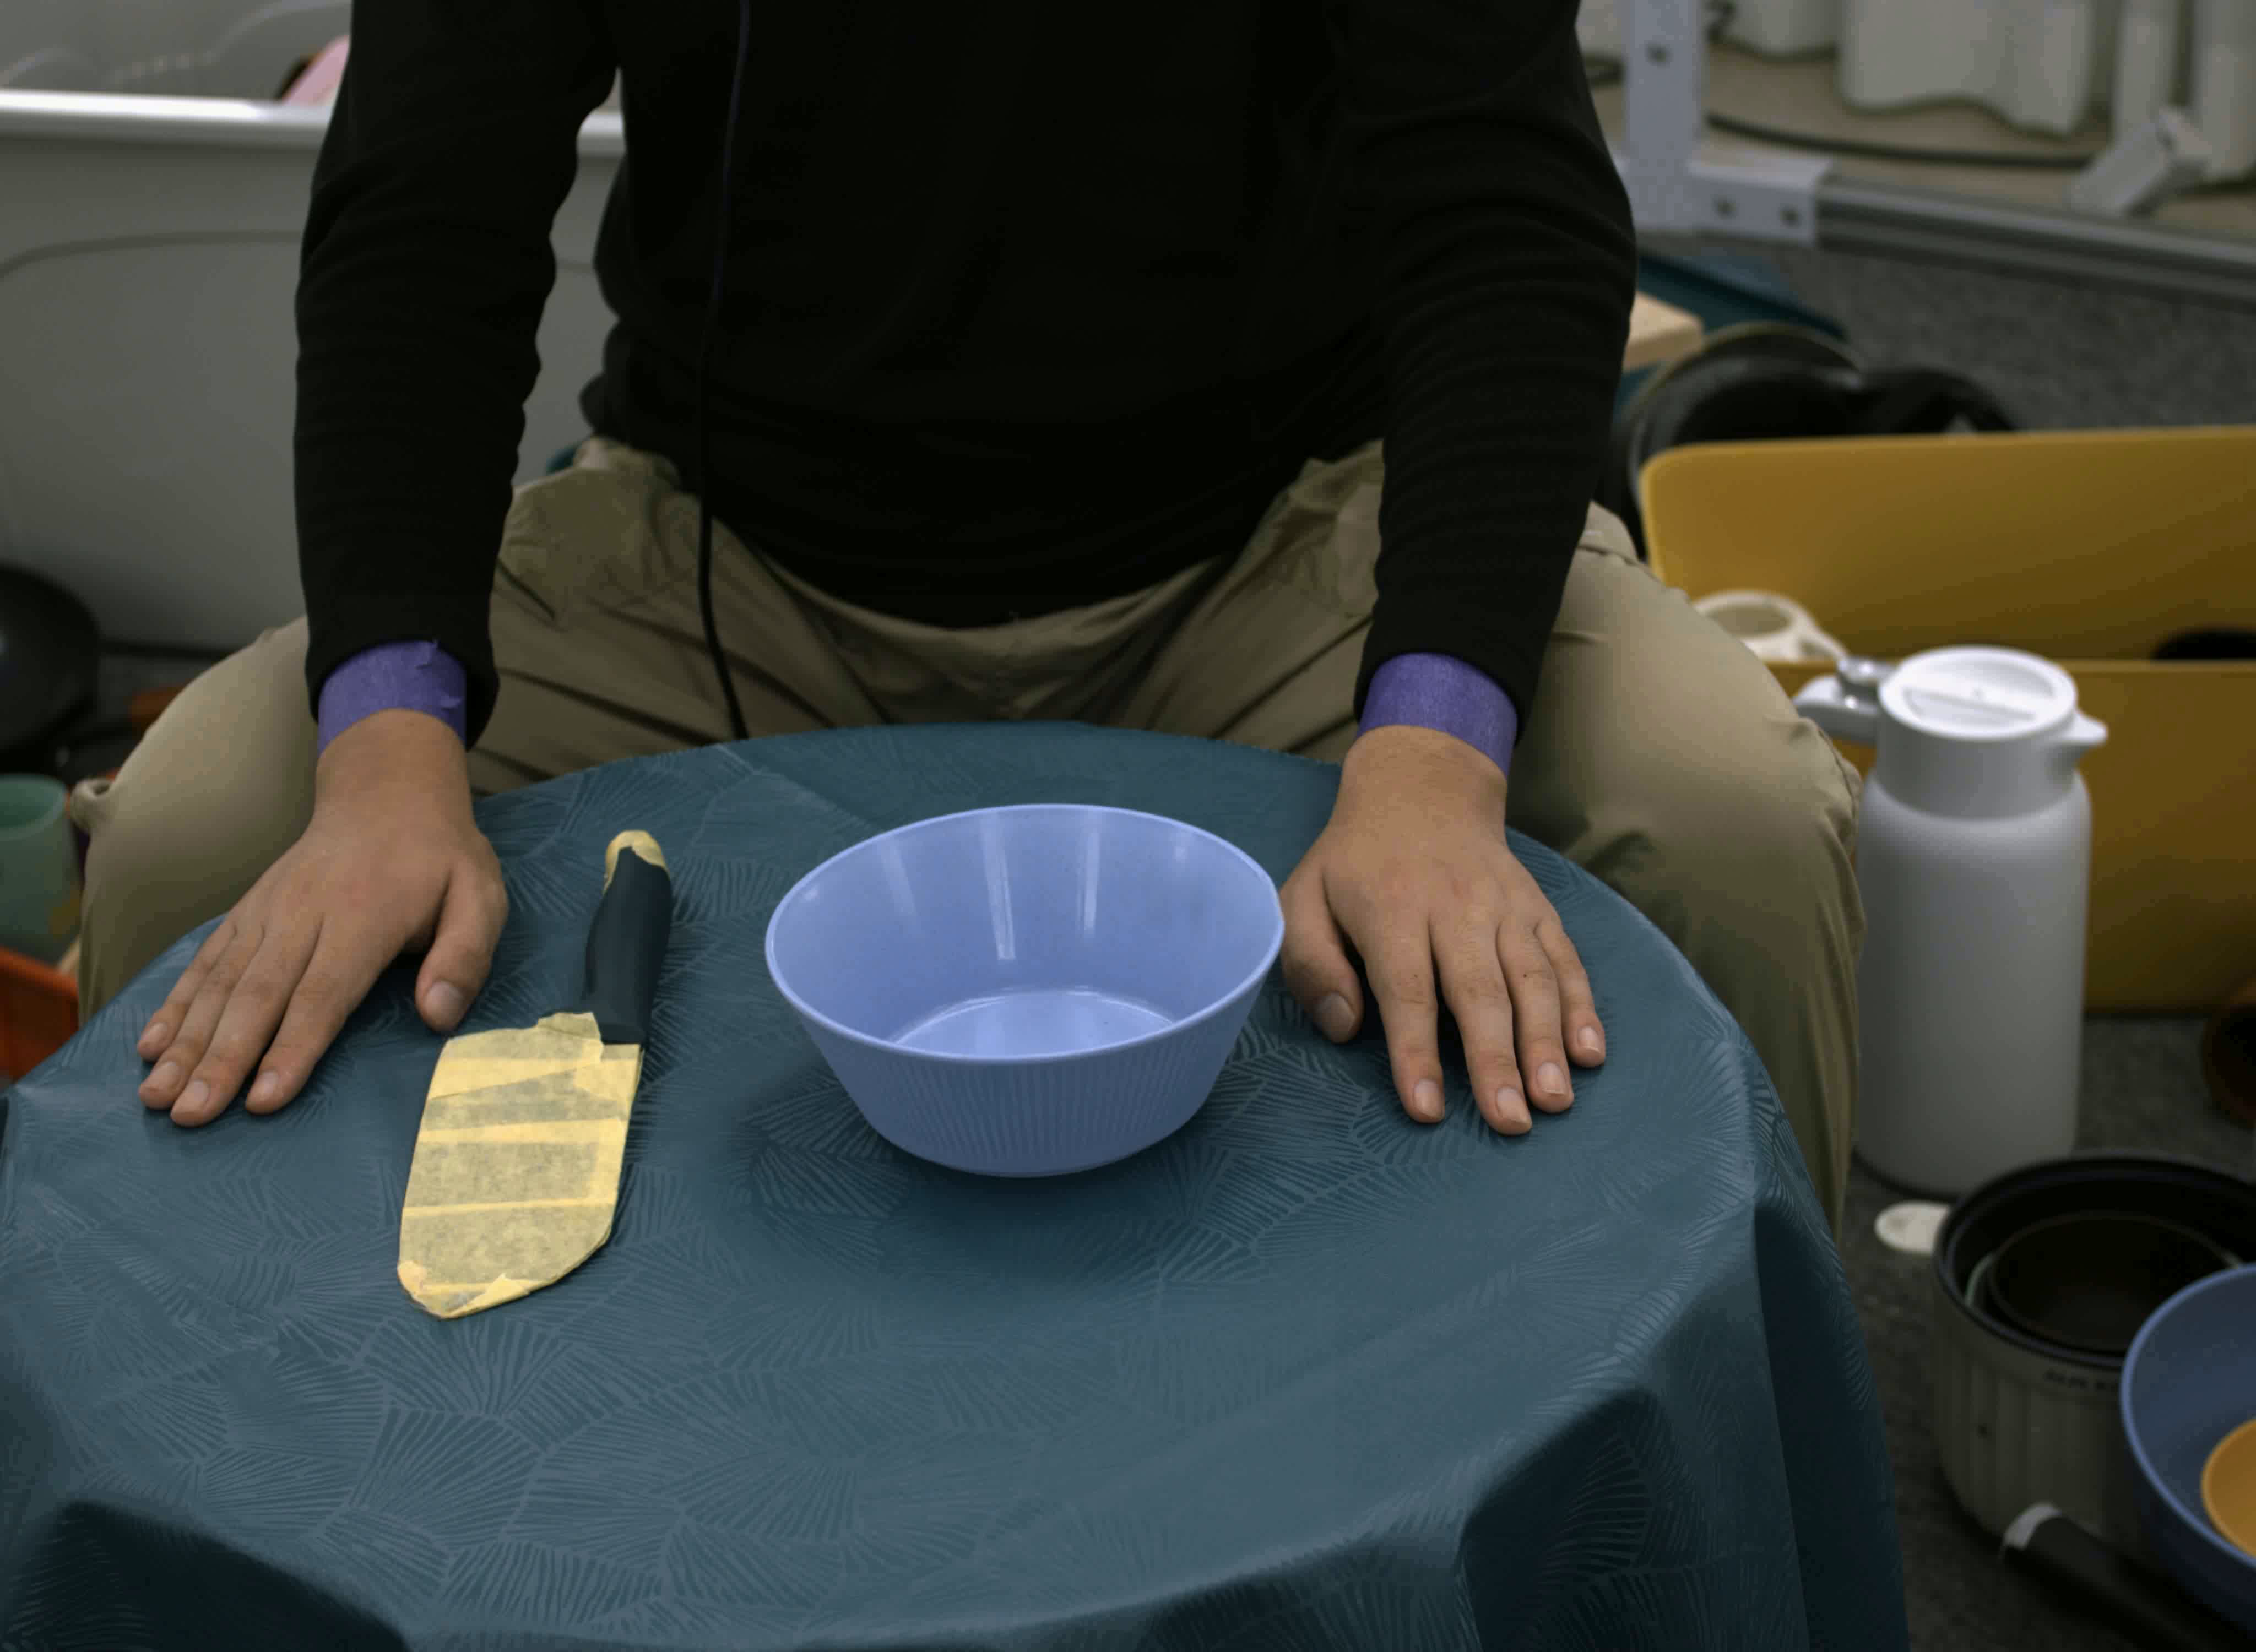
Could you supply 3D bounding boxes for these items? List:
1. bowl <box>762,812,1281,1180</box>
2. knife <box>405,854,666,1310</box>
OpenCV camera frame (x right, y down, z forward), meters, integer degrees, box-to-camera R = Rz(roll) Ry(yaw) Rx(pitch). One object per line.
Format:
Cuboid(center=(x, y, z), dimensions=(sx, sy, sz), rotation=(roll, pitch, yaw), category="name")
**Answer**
Cuboid(center=(-0.034, 0.063, 1.902), dimensions=(0.175, 0.069, 0.179), rotation=(-3, 27, 2), category="bowl")
Cuboid(center=(-0.201, 0.087, 1.932), dimensions=(0.080, 0.027, 0.294), rotation=(1, 28, 4), category="knife")
